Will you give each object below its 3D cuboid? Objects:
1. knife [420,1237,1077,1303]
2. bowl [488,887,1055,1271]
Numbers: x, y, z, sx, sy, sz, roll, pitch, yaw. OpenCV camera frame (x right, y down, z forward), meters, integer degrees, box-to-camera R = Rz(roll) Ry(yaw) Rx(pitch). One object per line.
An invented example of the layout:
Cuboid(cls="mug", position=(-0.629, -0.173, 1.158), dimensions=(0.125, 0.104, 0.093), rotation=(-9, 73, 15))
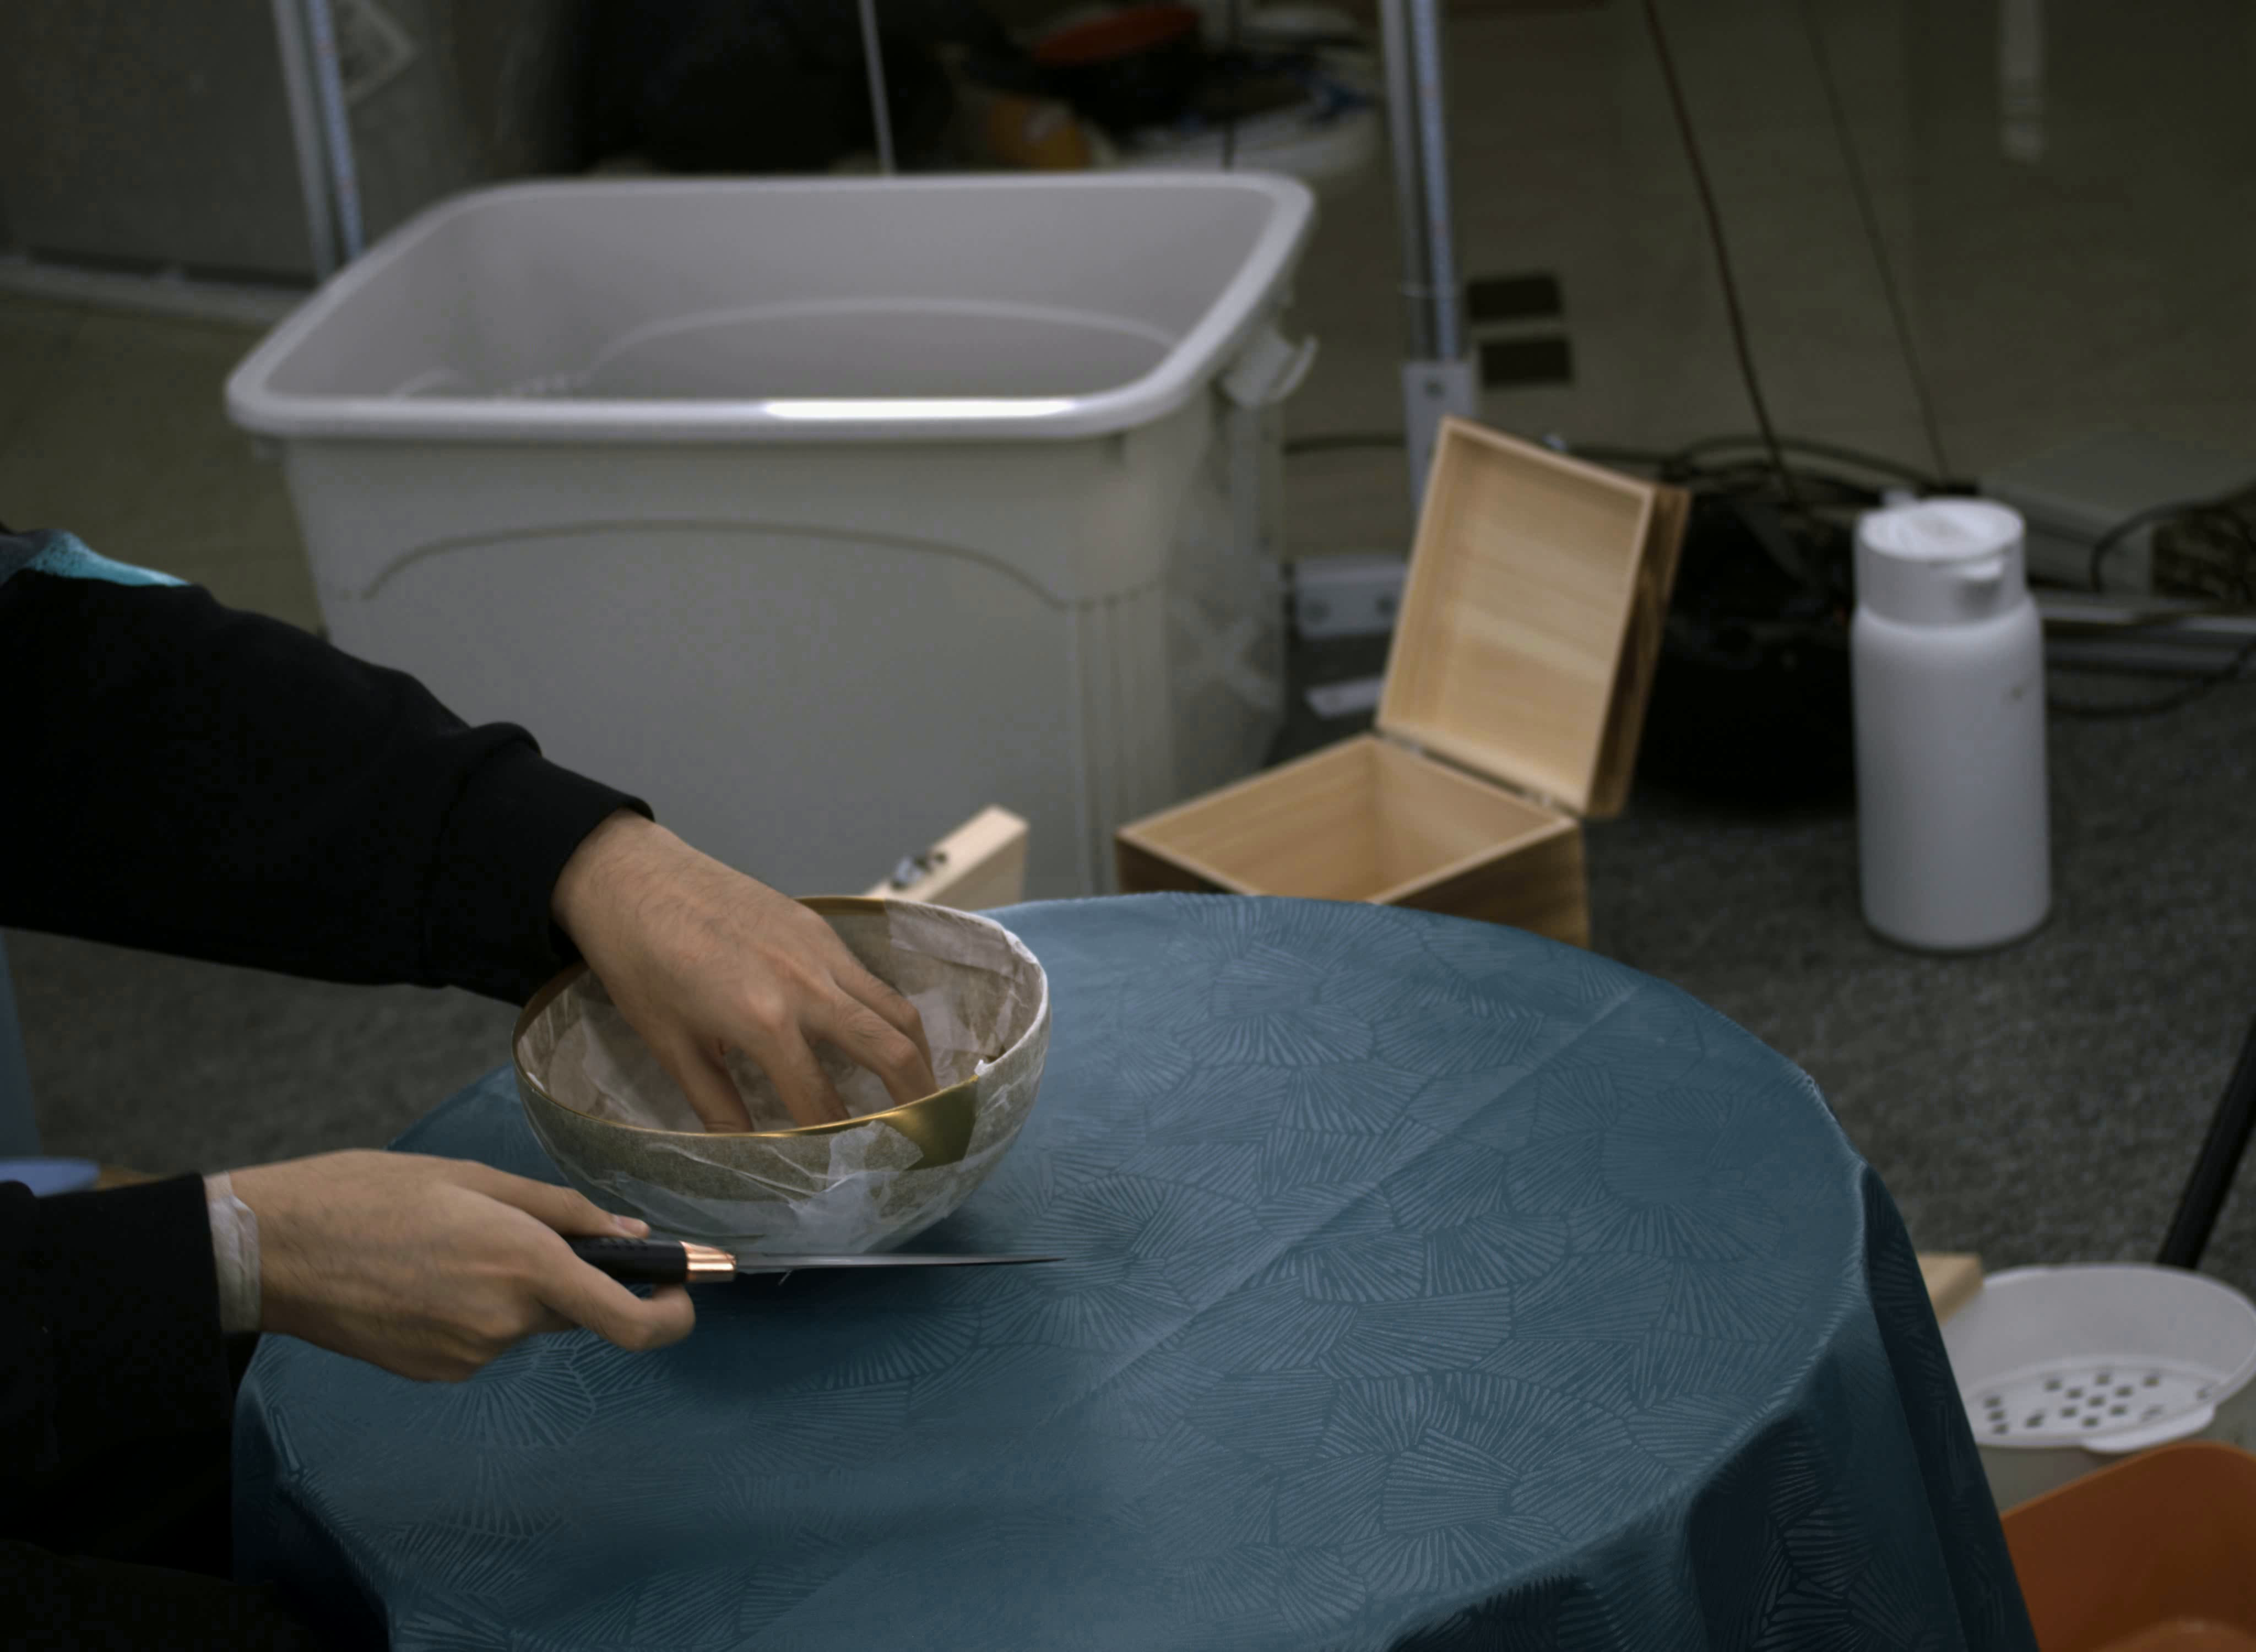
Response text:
Cuboid(cls="knife", position=(-0.130, 0.150, 1.948), dimensions=(0.225, 0.017, 0.026), rotation=(-3, 6, -1))
Cuboid(cls="bowl", position=(-0.129, 0.107, 2.131), dimensions=(0.214, 0.096, 0.211), rotation=(-4, 26, 2))
